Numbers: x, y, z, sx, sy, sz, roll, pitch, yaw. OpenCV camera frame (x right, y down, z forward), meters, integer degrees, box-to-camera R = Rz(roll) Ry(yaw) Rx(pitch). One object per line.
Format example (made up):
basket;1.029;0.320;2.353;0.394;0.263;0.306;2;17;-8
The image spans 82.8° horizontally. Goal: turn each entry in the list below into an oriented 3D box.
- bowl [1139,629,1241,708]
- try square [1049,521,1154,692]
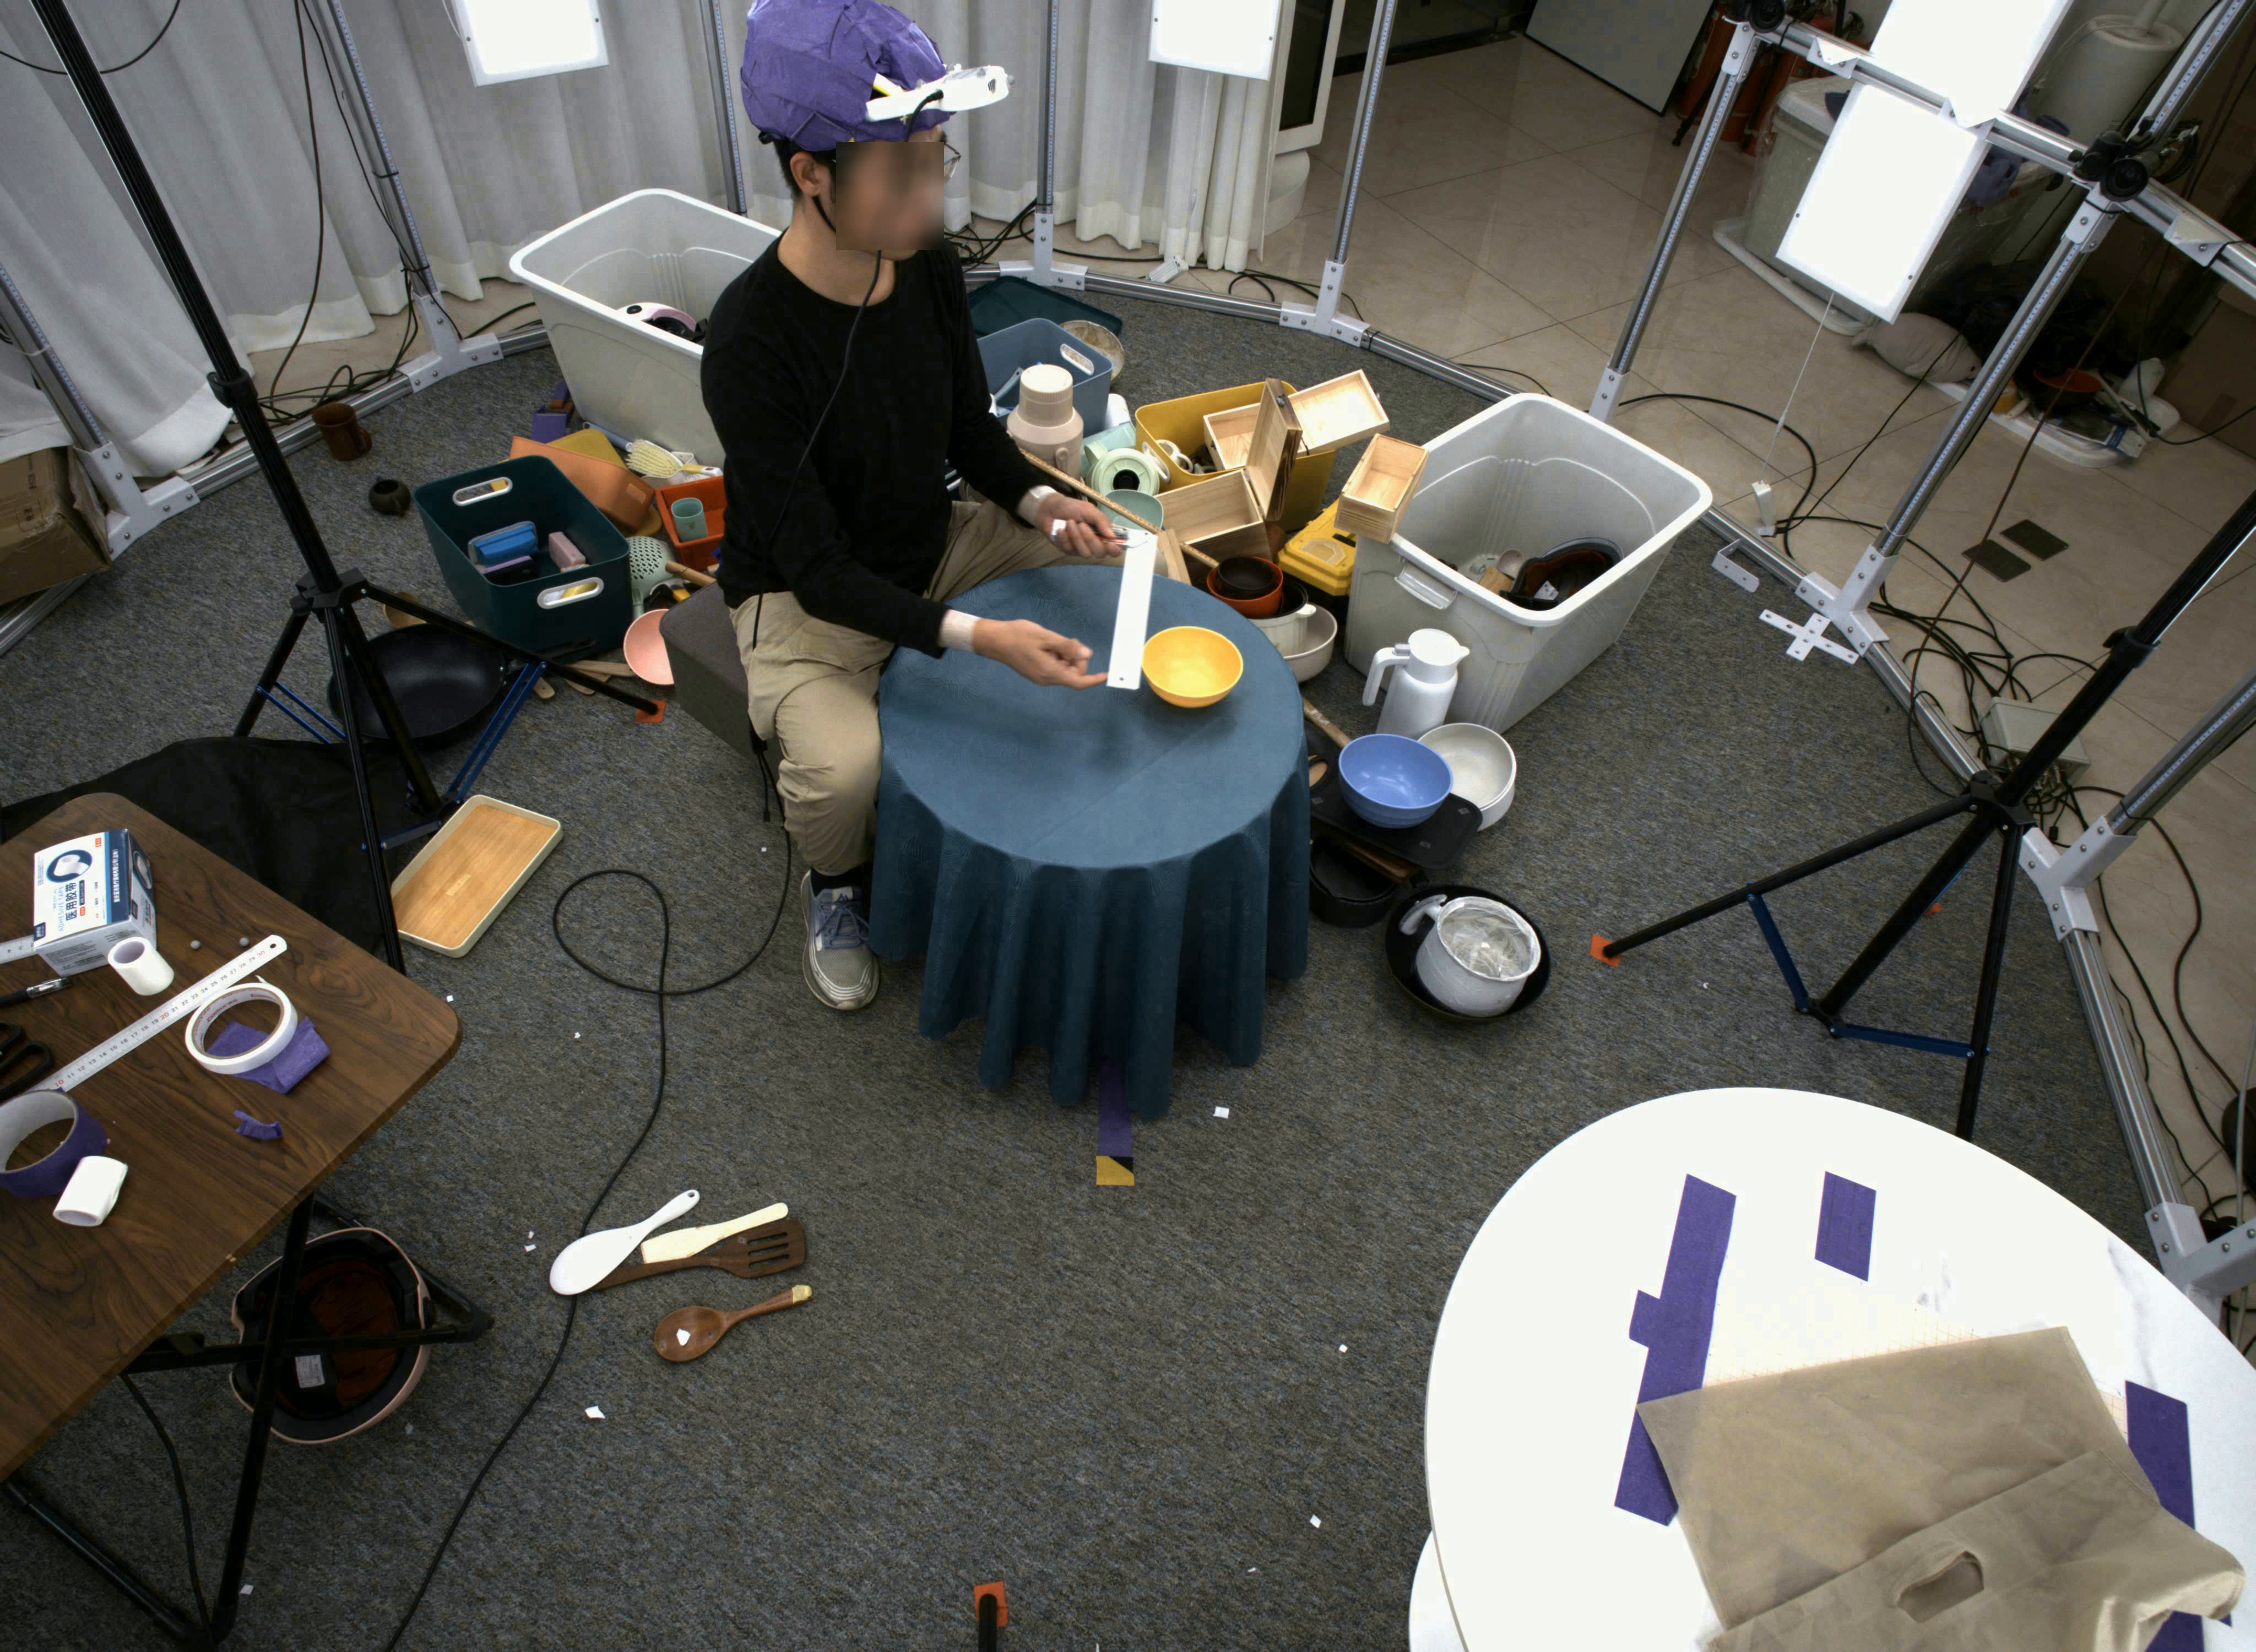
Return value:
bowl;0.085;-0.212;1.824;0.145;0.058;0.149;2;46;-3
try square;-0.052;-0.312;1.799;0.152;0.015;0.320;5;53;3
